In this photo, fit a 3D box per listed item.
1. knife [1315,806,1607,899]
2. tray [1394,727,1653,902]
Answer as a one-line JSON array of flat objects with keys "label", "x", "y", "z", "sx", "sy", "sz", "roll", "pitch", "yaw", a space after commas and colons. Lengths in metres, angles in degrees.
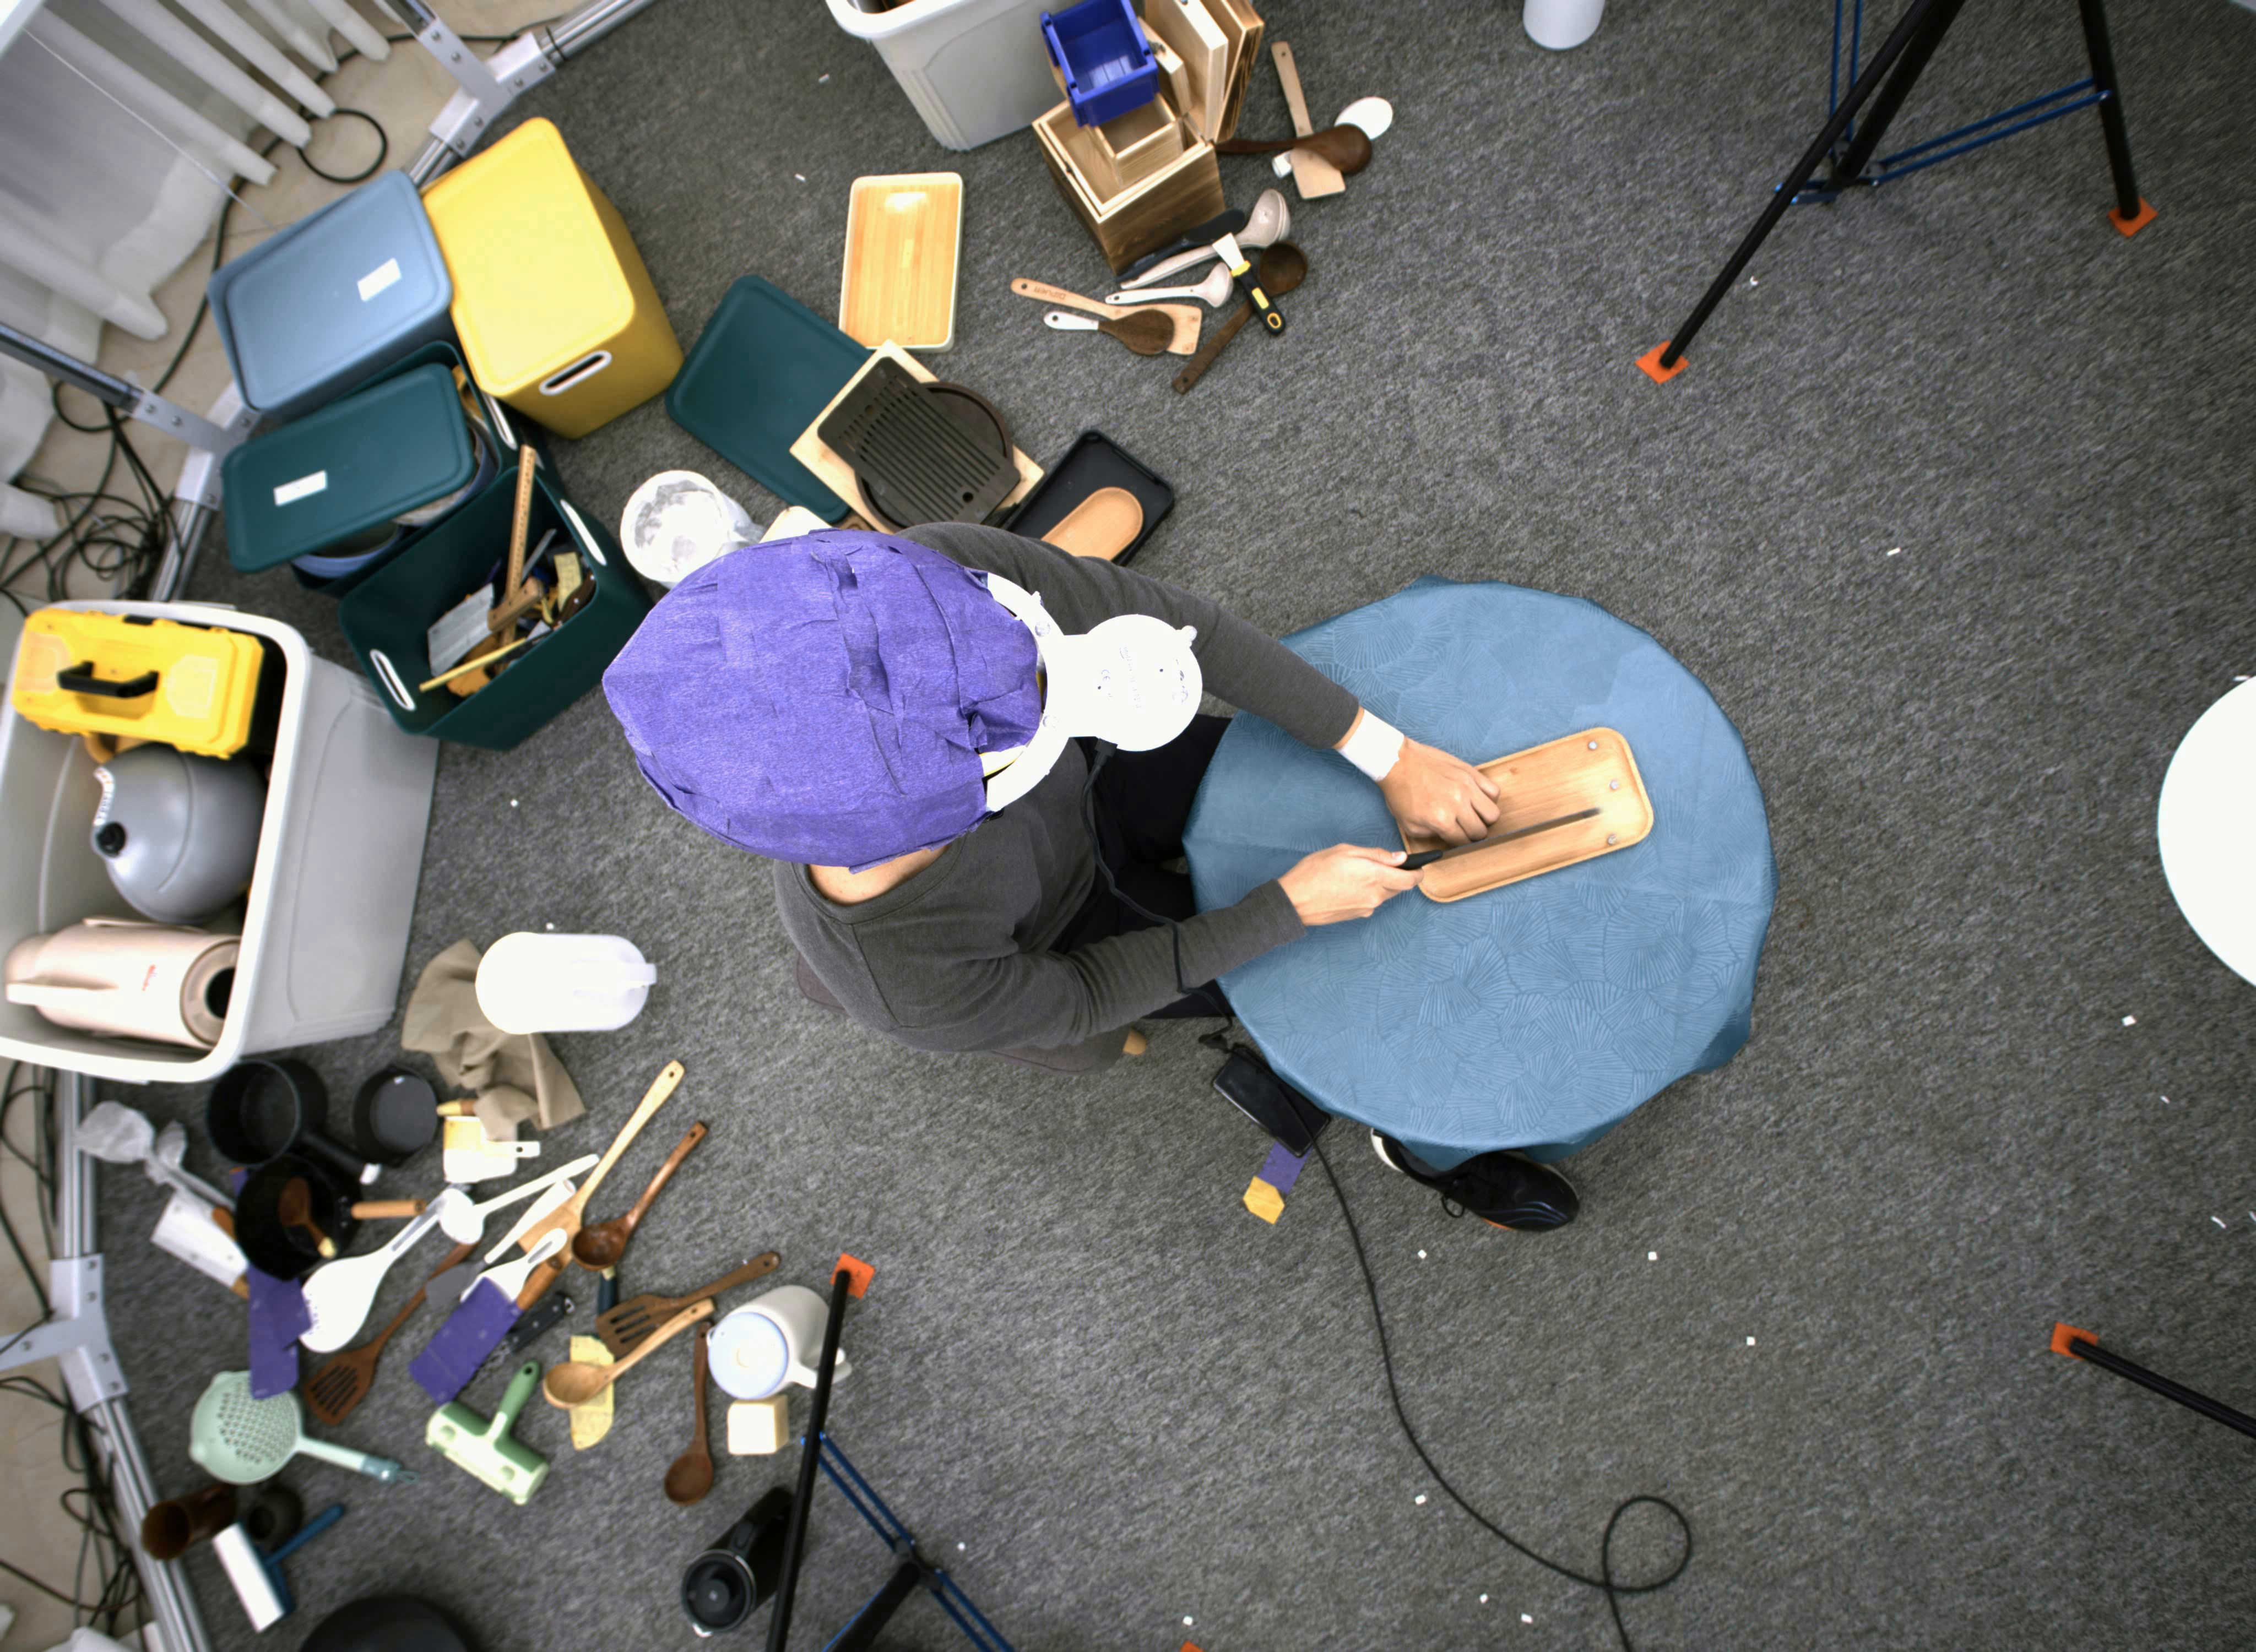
[{"label": "knife", "x": 0.338, "y": 0.024, "z": 1.401, "sx": 0.303, "sy": 0.081, "sz": 0.020, "roll": -16, "pitch": 77, "yaw": 5}, {"label": "tray", "x": 0.410, "y": -0.013, "z": 1.431, "sx": 0.252, "sy": 0.023, "sz": 0.129, "roll": -18, "pitch": 81, "yaw": 10}]
